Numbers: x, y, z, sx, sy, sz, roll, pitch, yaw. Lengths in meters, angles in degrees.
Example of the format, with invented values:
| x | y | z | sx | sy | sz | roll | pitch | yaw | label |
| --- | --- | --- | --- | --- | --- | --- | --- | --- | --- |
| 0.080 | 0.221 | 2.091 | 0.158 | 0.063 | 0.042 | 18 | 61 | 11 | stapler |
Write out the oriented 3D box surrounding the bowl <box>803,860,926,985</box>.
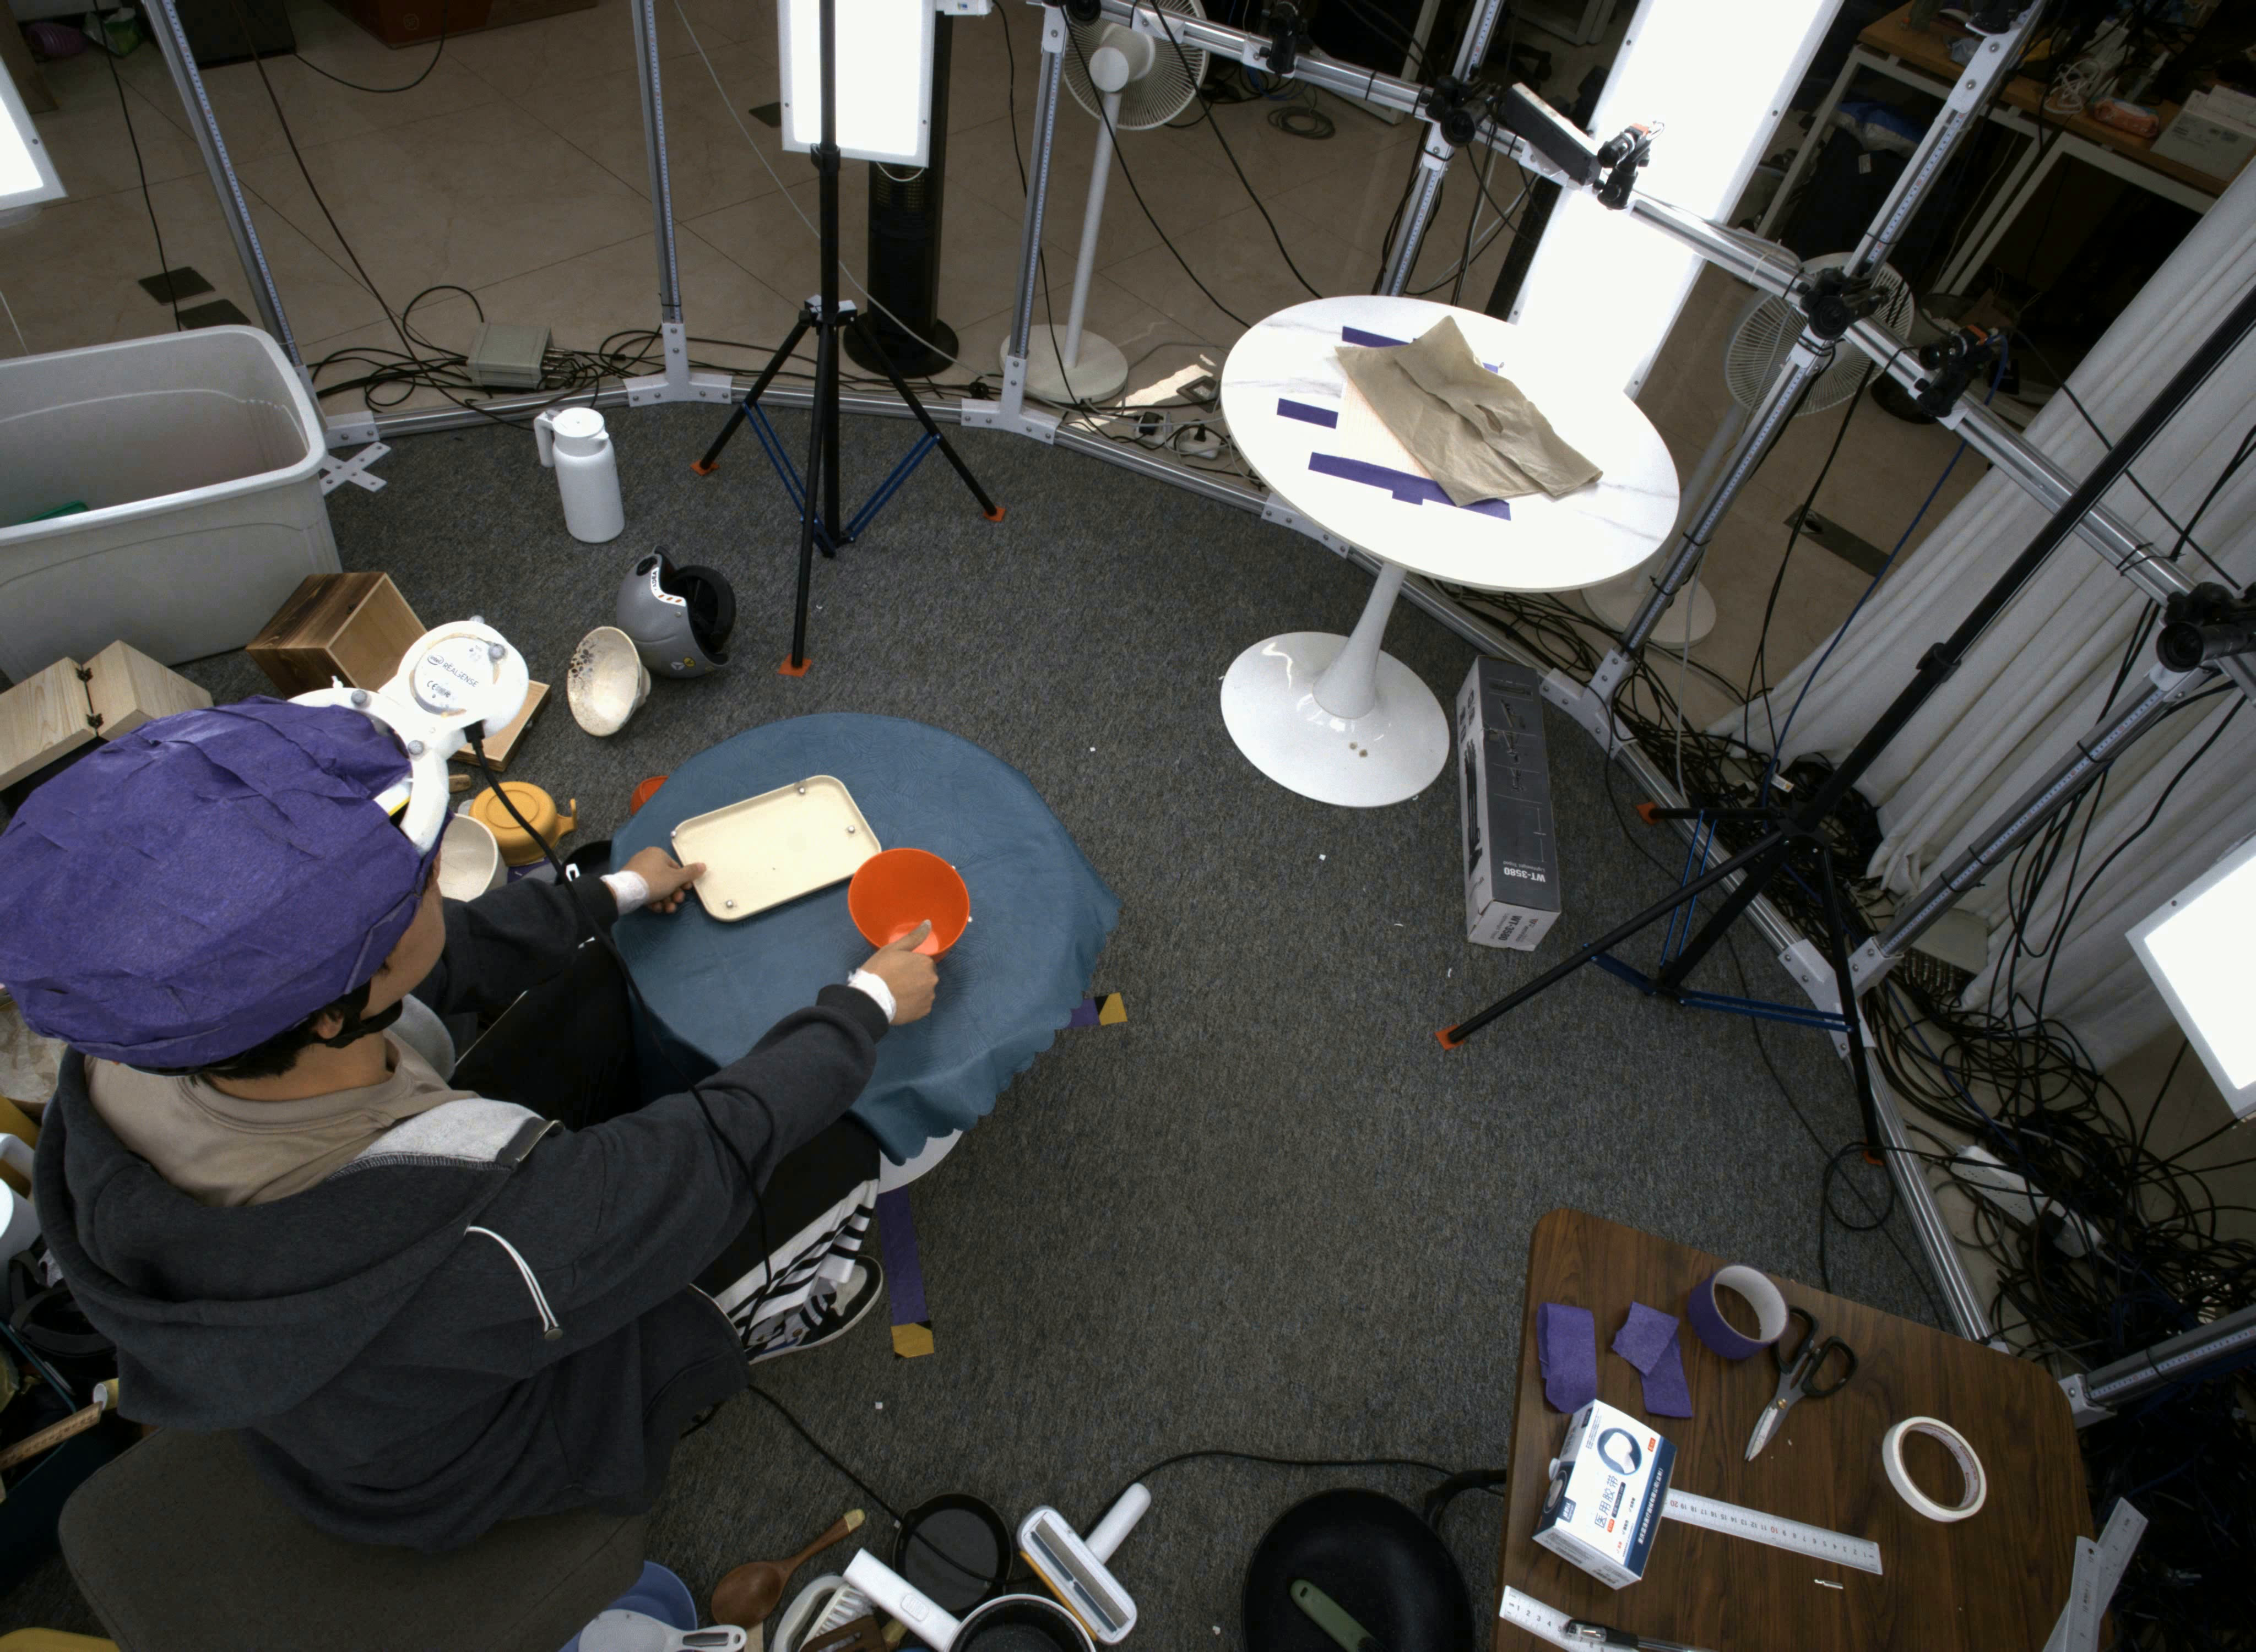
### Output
| x | y | z | sx | sy | sz | roll | pitch | yaw | label |
| --- | --- | --- | --- | --- | --- | --- | --- | --- | --- |
| -0.322 | 0.129 | 1.594 | 0.148 | 0.107 | 0.145 | 8 | 50 | -8 | bowl |

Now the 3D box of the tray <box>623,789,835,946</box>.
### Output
| x | y | z | sx | sy | sz | roll | pitch | yaw | label |
| --- | --- | --- | --- | --- | --- | --- | --- | --- | --- |
| -0.512 | 0.050 | 1.658 | 0.241 | 0.018 | 0.167 | -25 | 64 | -29 | tray |
